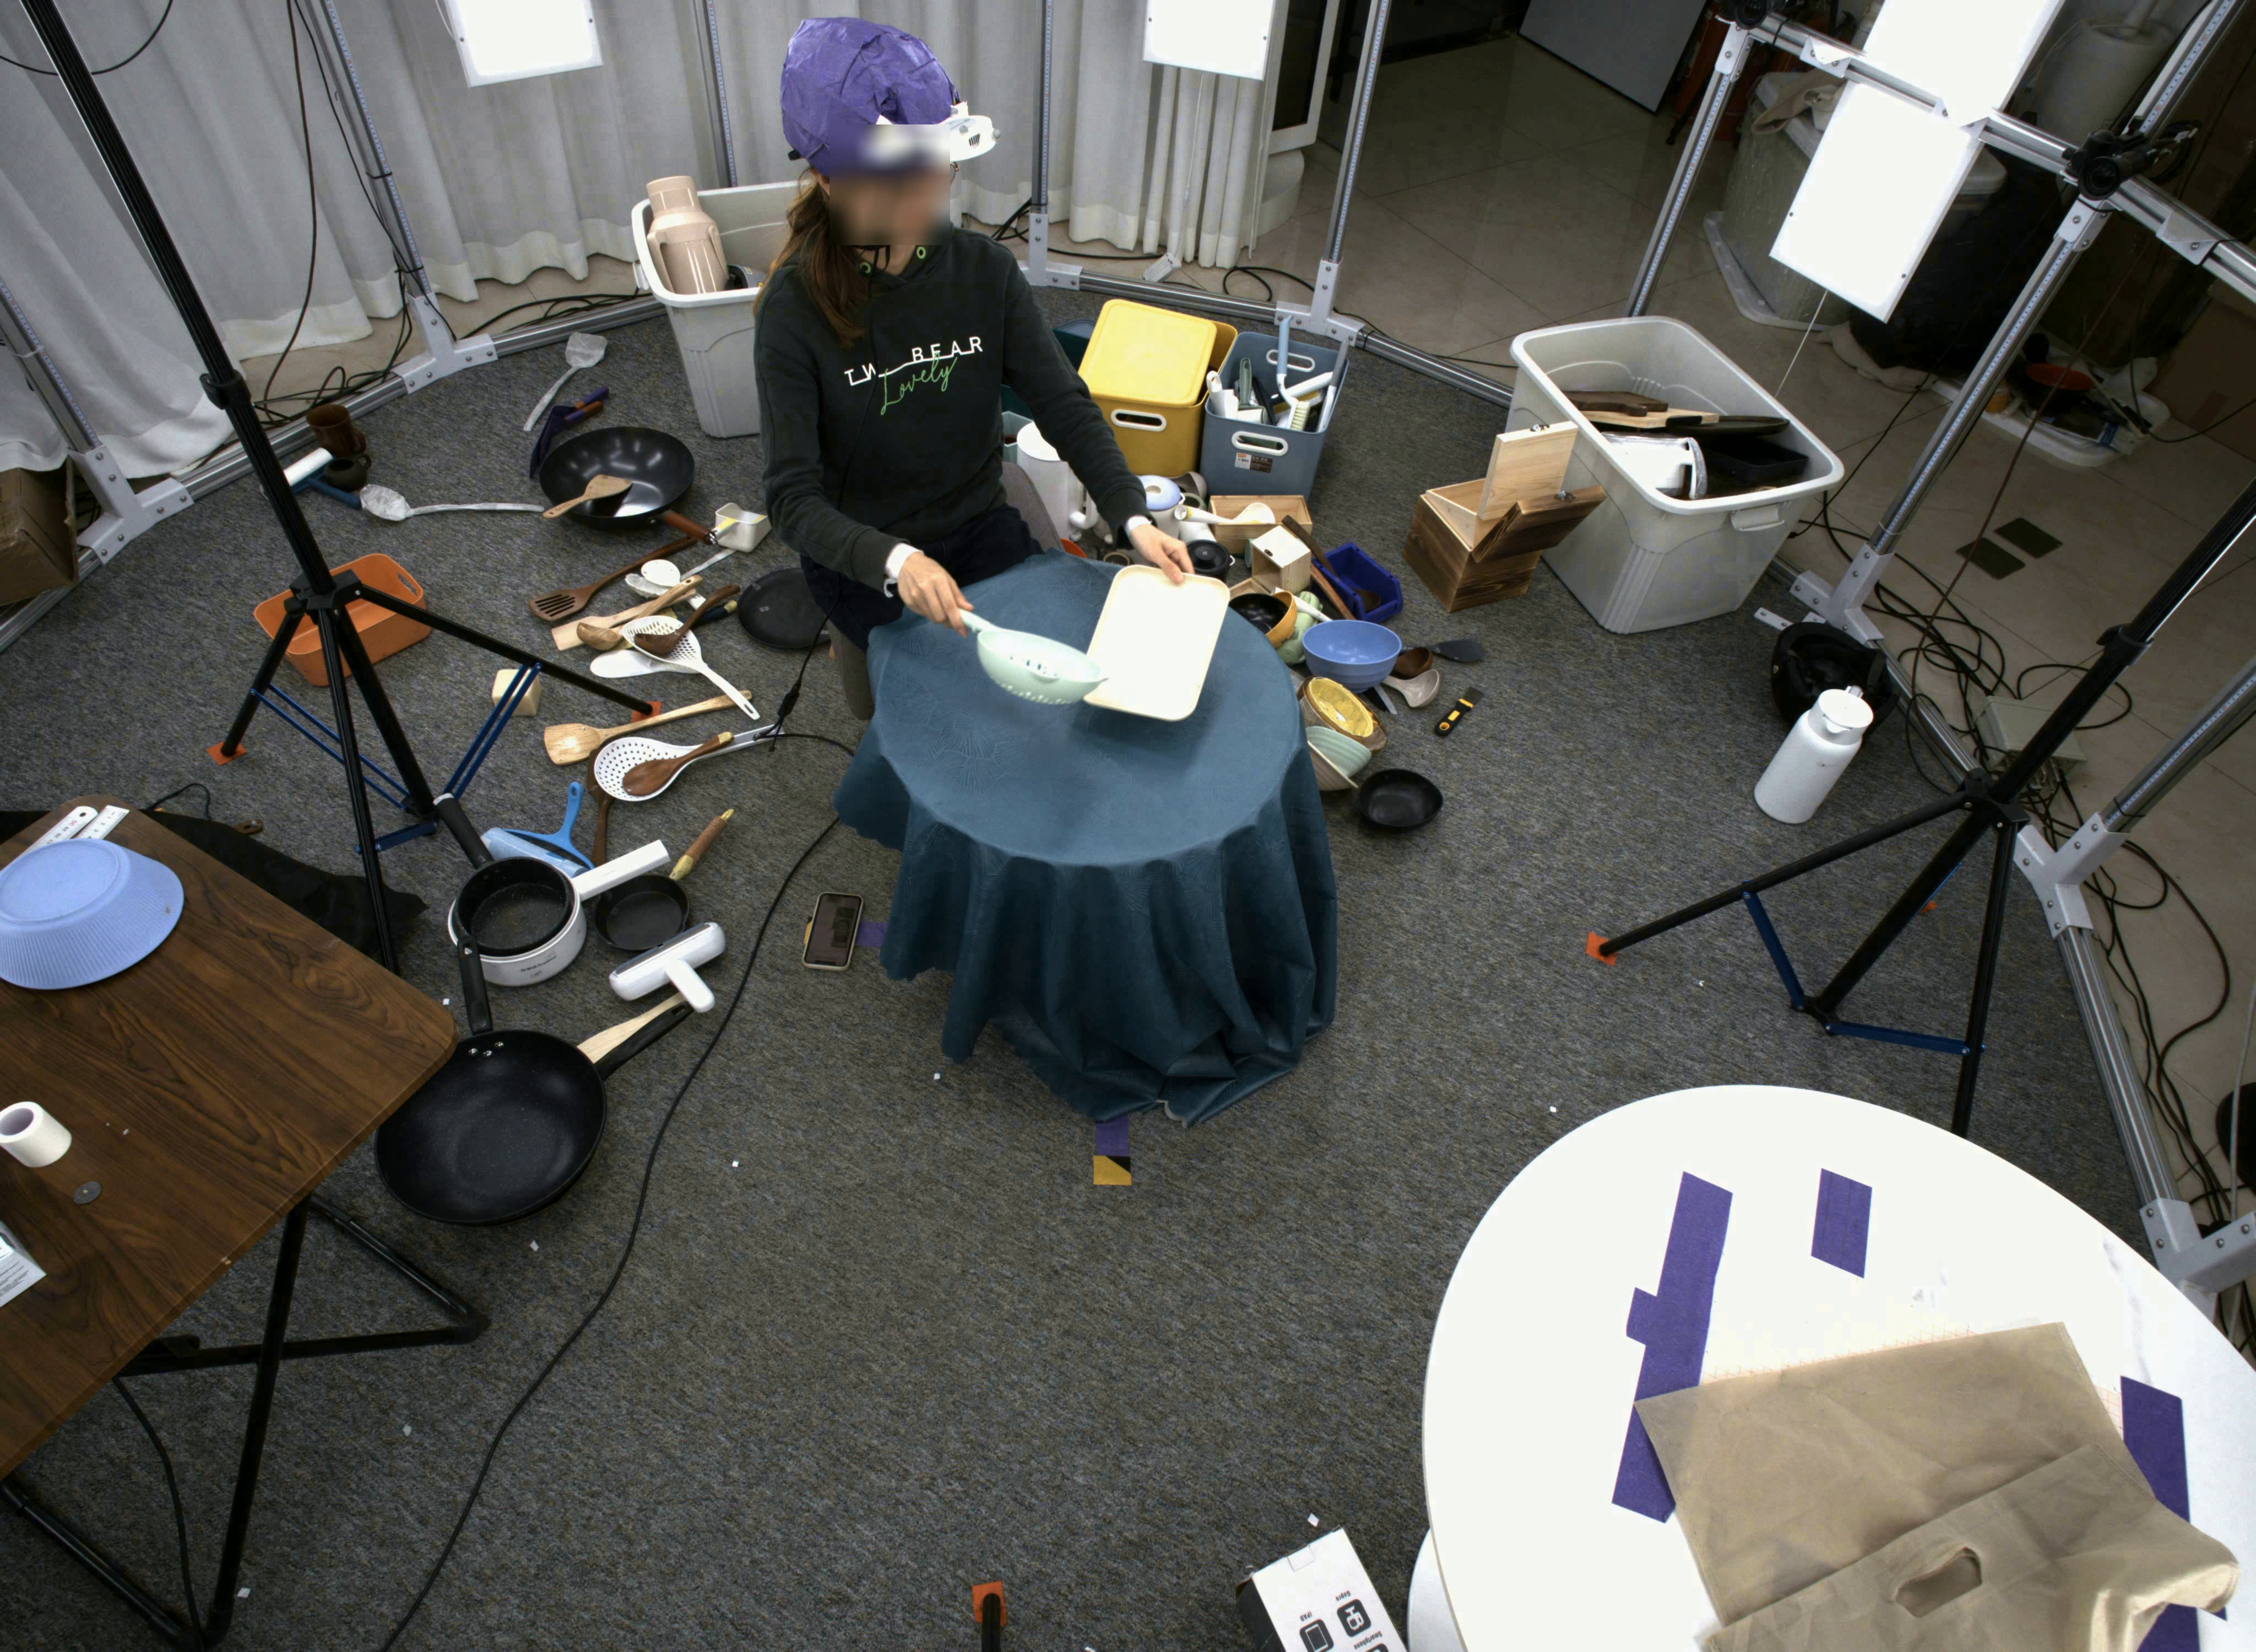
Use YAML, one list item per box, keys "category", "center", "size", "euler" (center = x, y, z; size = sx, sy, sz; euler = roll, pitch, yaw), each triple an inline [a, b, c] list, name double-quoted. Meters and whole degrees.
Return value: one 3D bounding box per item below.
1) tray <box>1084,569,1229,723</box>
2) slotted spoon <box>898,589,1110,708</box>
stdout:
- category: "tray"
  center: [0.038, -0.254, 1.801]
  size: [0.172, 0.017, 0.244]
  euler: [12, 63, 13]
- category: "slotted spoon"
  center: [-0.186, -0.249, 1.708]
  size: [0.365, 0.074, 0.169]
  euler: [40, 26, 30]
